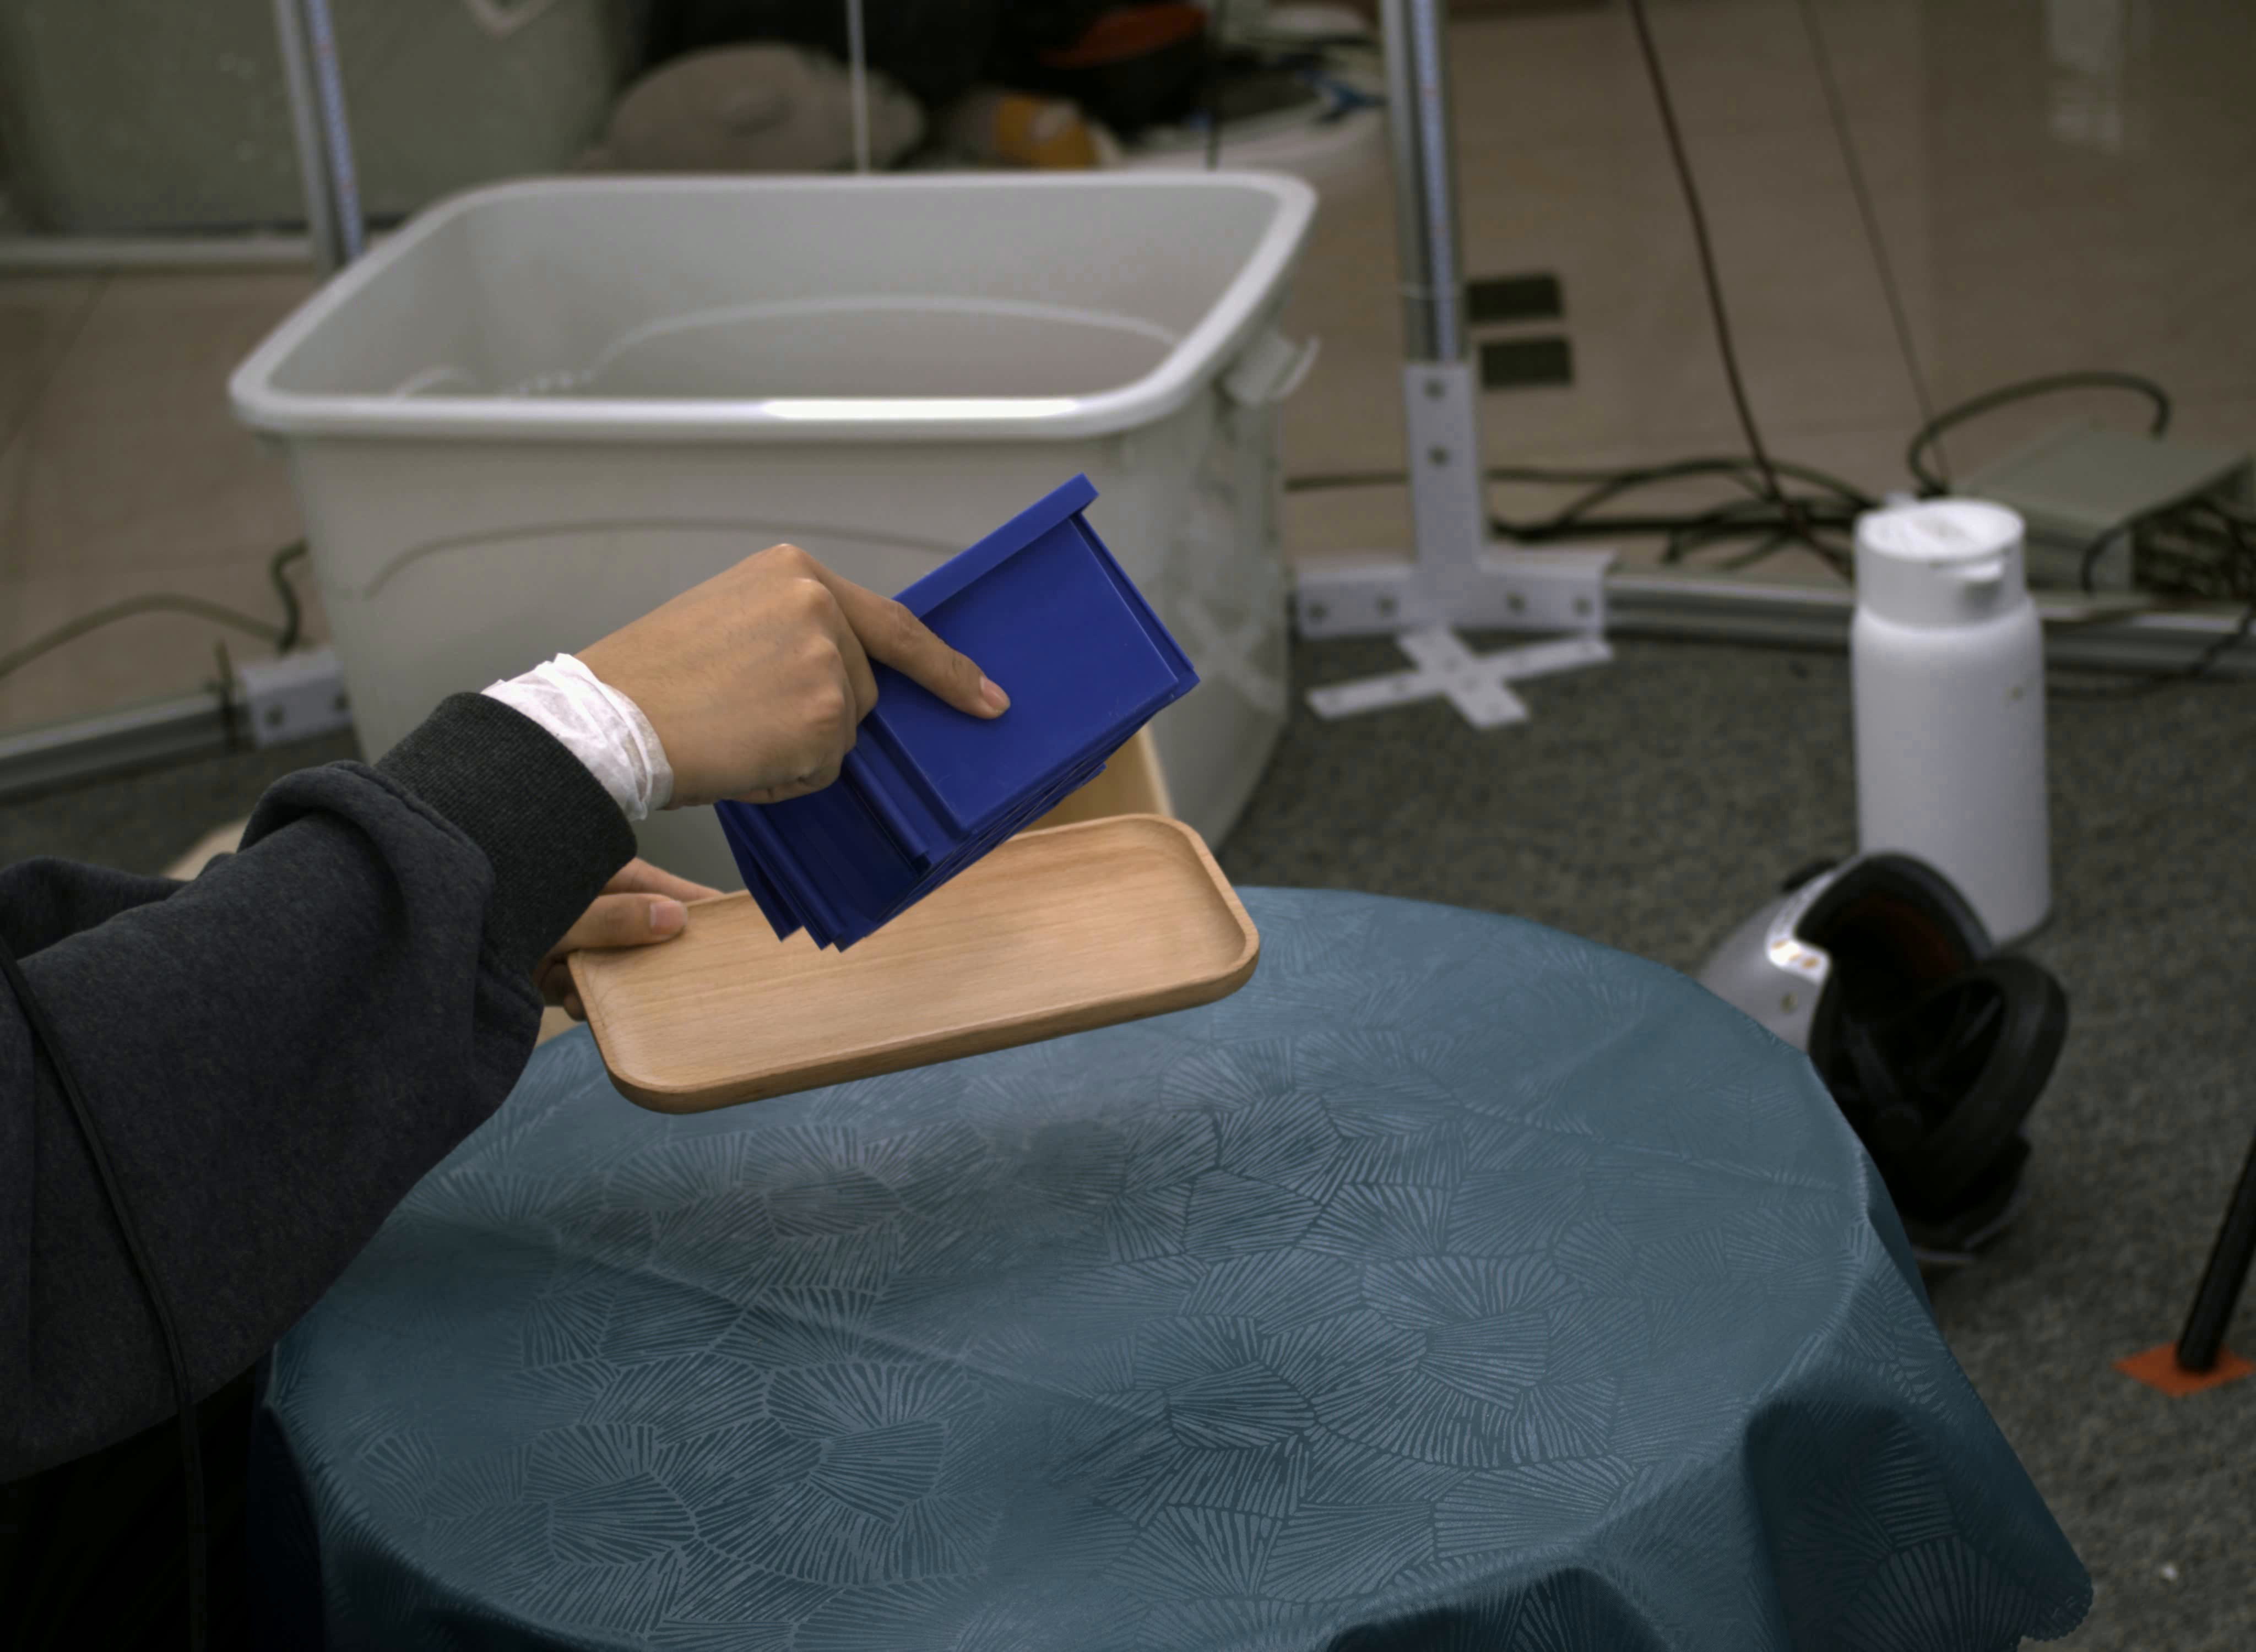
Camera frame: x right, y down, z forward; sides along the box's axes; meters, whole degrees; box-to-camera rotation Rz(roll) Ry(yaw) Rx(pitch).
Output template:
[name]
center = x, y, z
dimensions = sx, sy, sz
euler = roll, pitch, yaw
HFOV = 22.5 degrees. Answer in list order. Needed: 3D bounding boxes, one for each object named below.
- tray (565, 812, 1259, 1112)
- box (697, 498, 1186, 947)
[tray]
center = -0.081, 0.050, 2.127
dimensions = 0.250, 0.023, 0.128
euler = -12, 30, -12
[box]
center = -0.070, -0.029, 1.966
dimensions = 0.123, 0.082, 0.180
euler = -35, 2, -21
